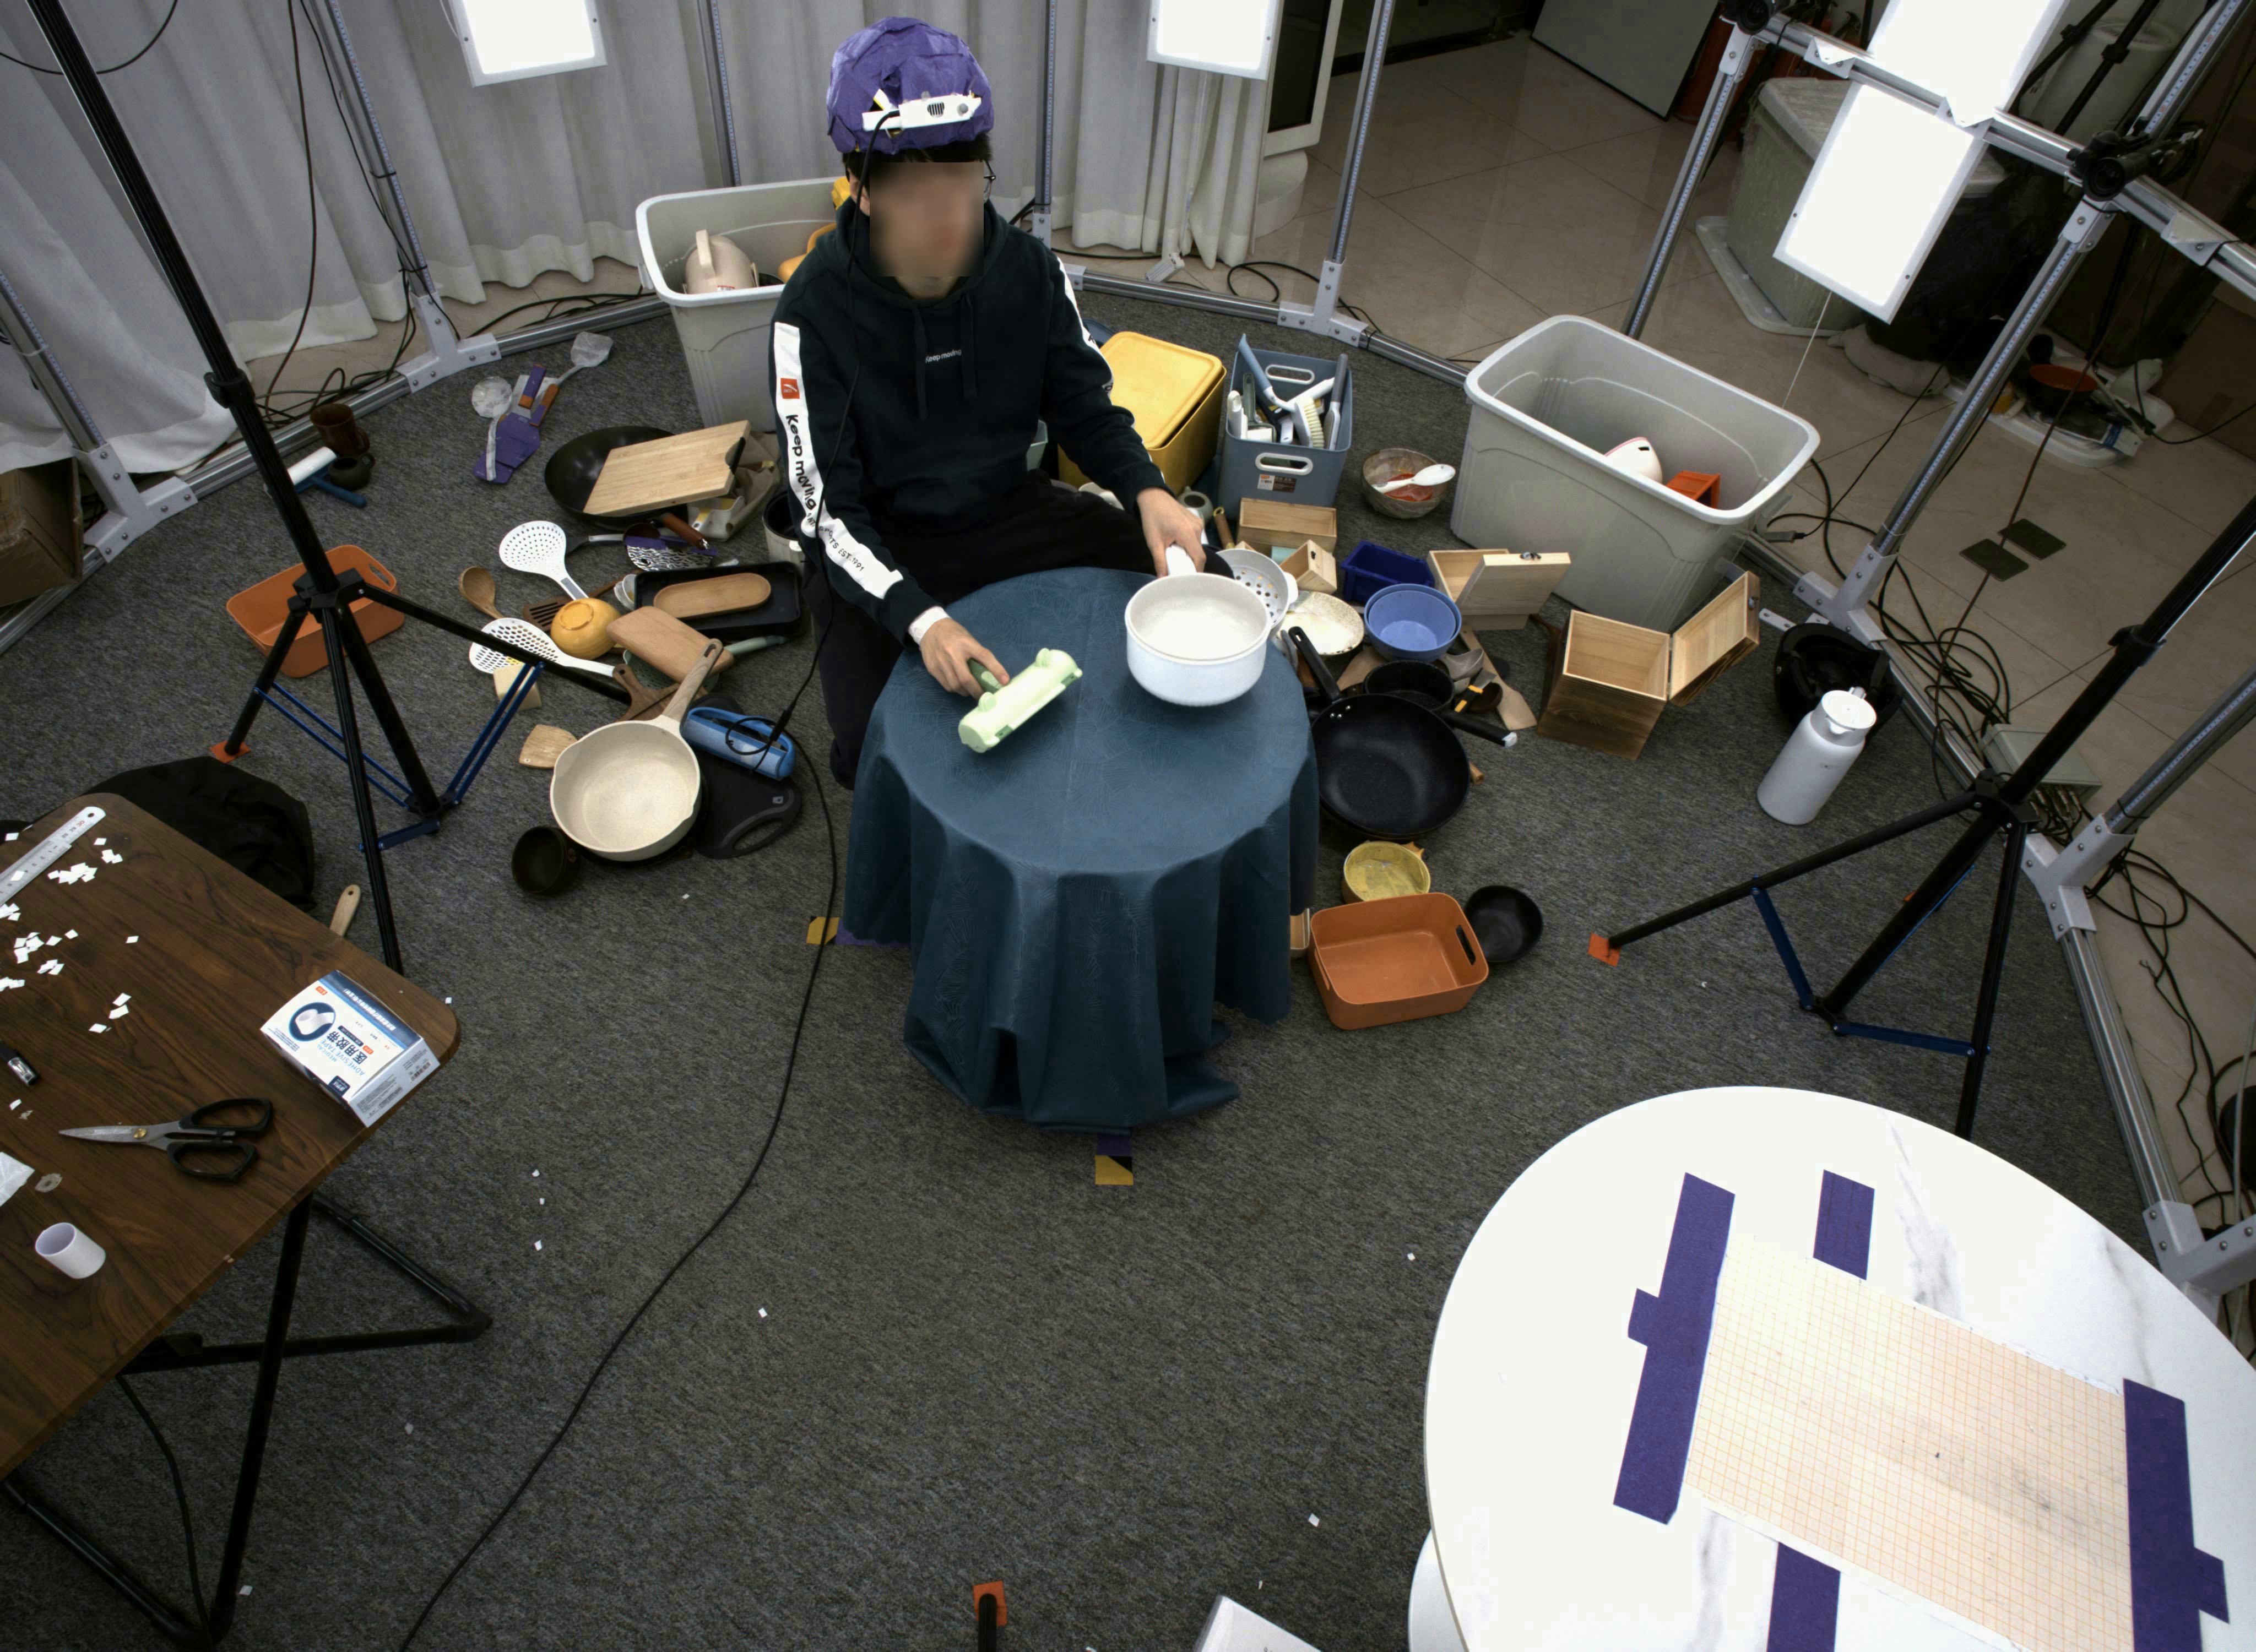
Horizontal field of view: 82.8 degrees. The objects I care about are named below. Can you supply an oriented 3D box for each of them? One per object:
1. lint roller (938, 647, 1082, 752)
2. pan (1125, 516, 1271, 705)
[{"bbox_3d":[-0.190,-0.207,1.757,0.185,0.080,0.201,35,55,19],"label":"lint roller"},{"bbox_3d":[0.087,-0.312,1.855,0.201,0.099,0.364,-5,44,-5],"label":"pan"}]
